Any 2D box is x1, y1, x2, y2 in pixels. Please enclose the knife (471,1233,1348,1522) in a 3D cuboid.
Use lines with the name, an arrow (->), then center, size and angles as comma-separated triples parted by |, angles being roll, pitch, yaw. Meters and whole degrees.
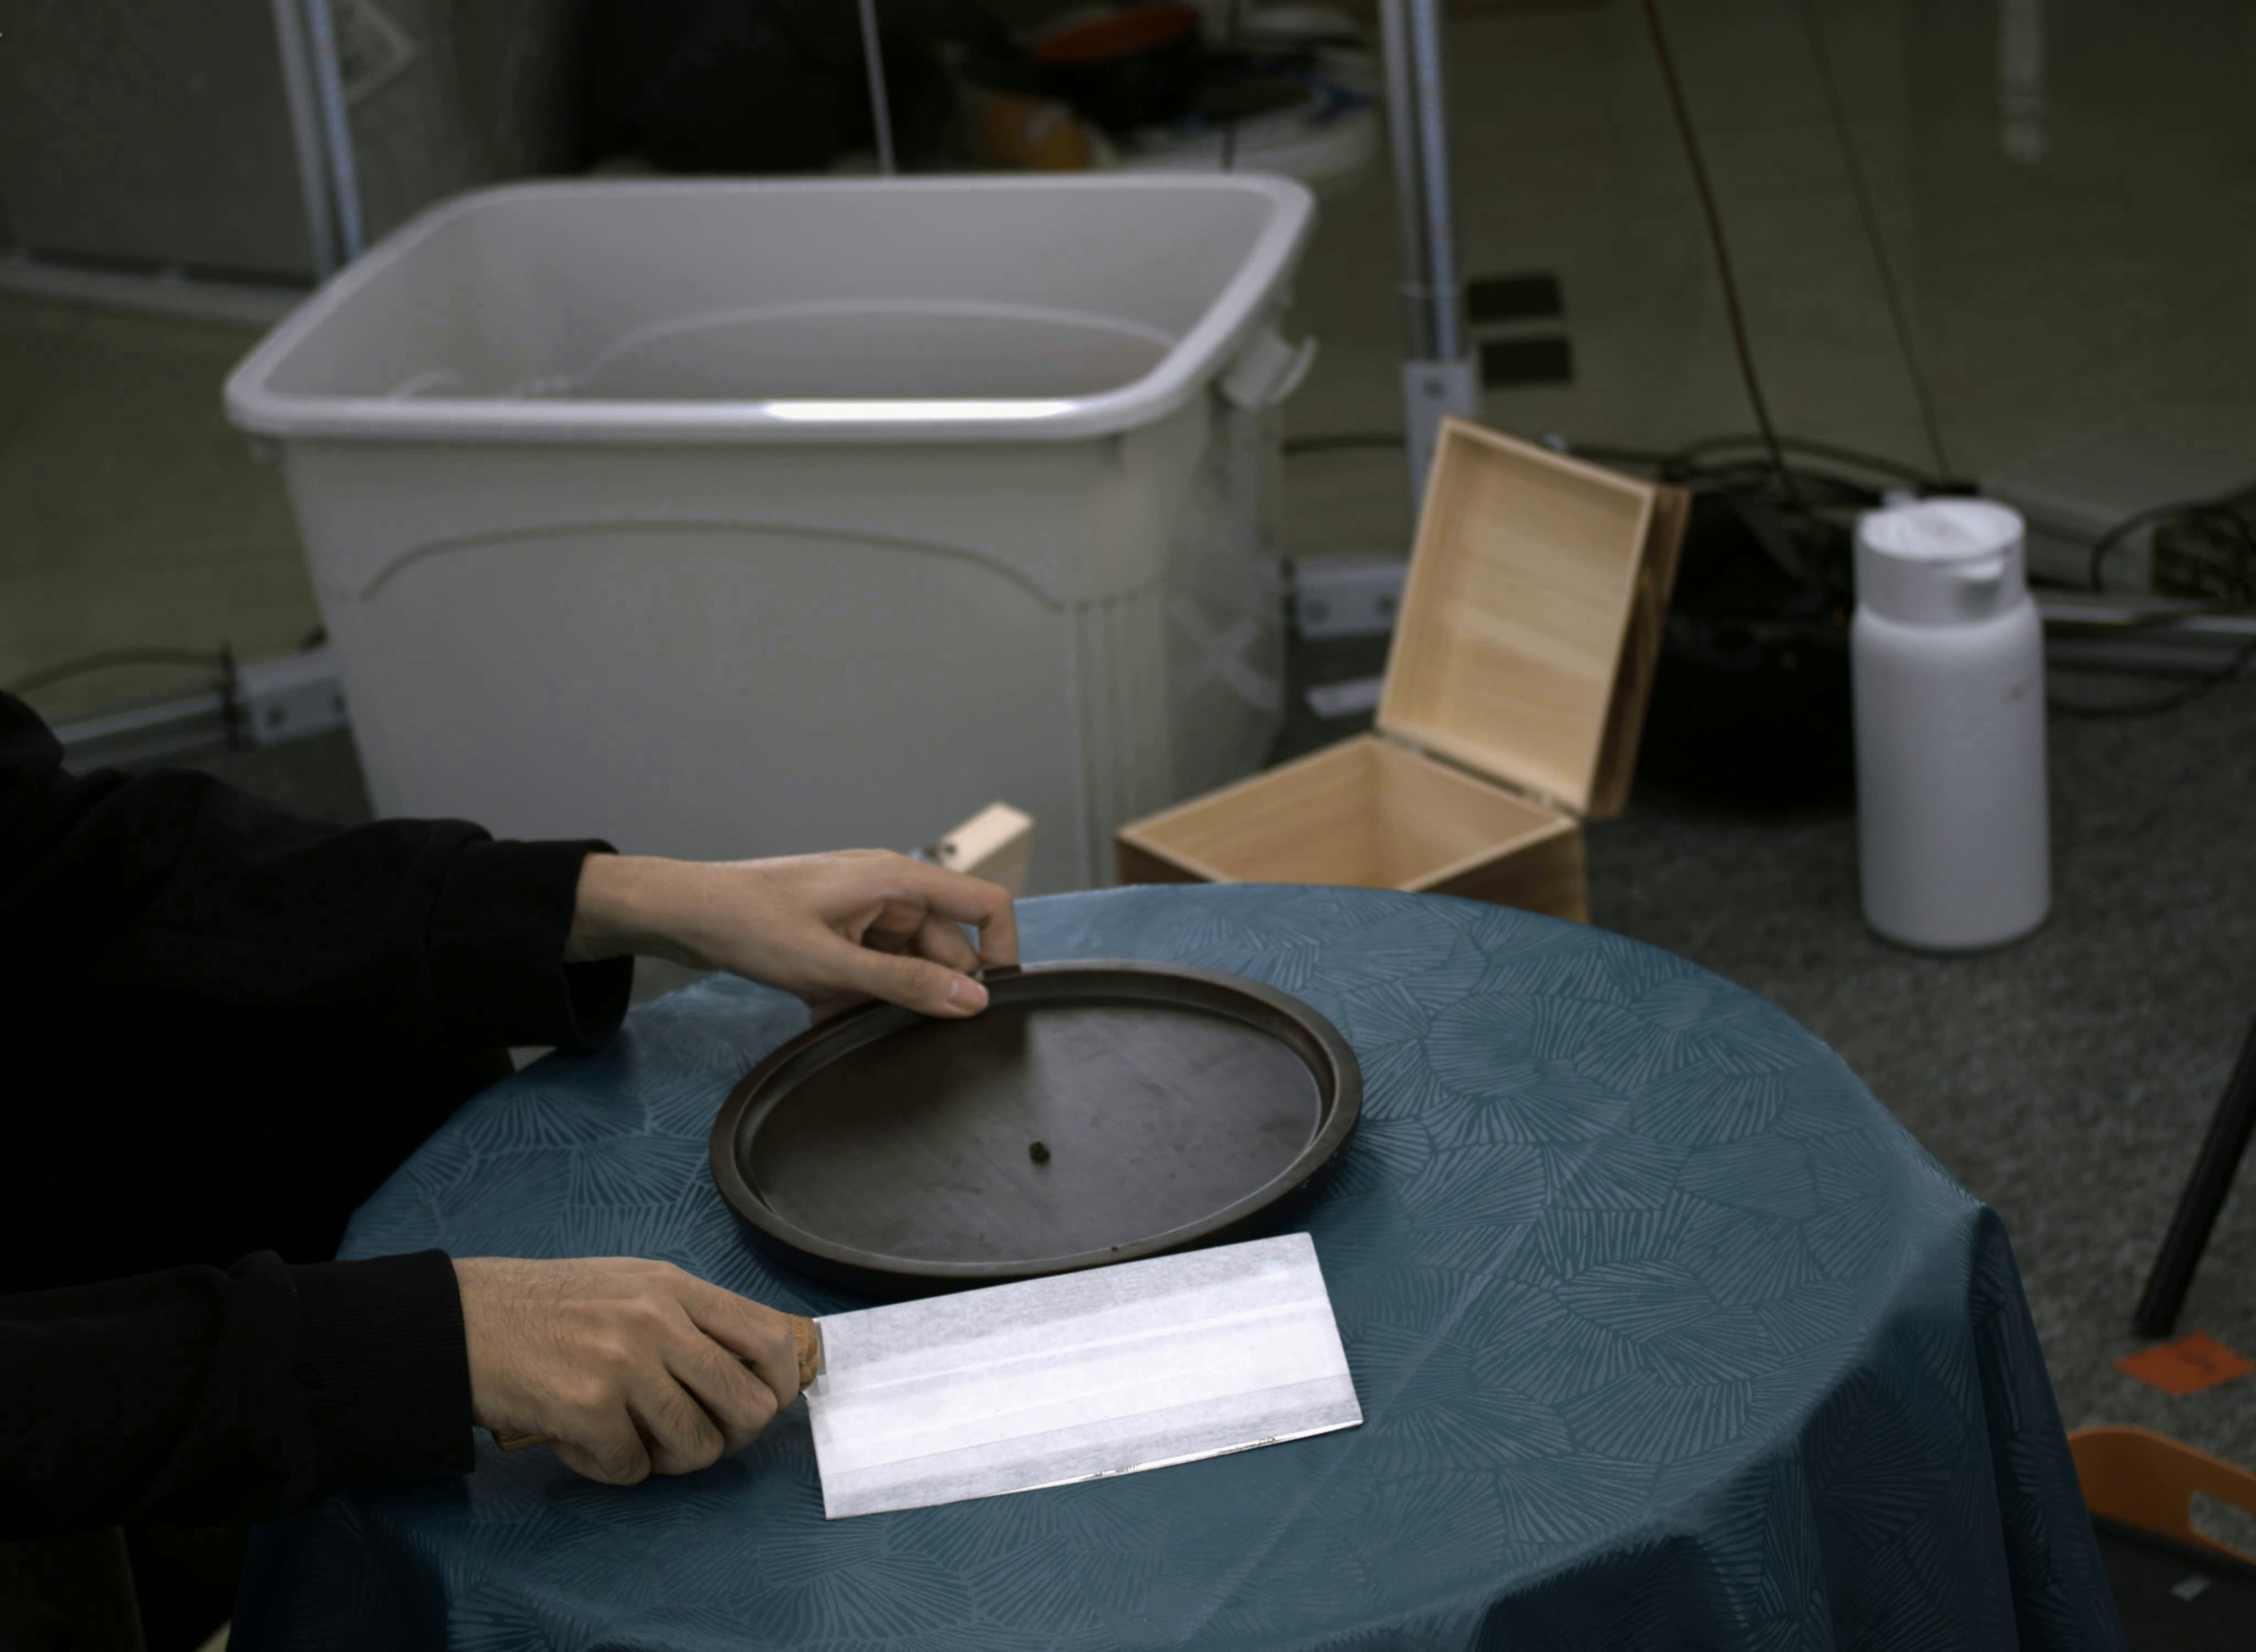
knife -> -0.076, 0.201, 1.992 | 0.305, 0.021, 0.091 | -10, 47, -6

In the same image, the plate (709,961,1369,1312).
plate -> -0.033, 0.117, 2.171 | 0.254, 0.029, 0.251 | -5, 27, 2
